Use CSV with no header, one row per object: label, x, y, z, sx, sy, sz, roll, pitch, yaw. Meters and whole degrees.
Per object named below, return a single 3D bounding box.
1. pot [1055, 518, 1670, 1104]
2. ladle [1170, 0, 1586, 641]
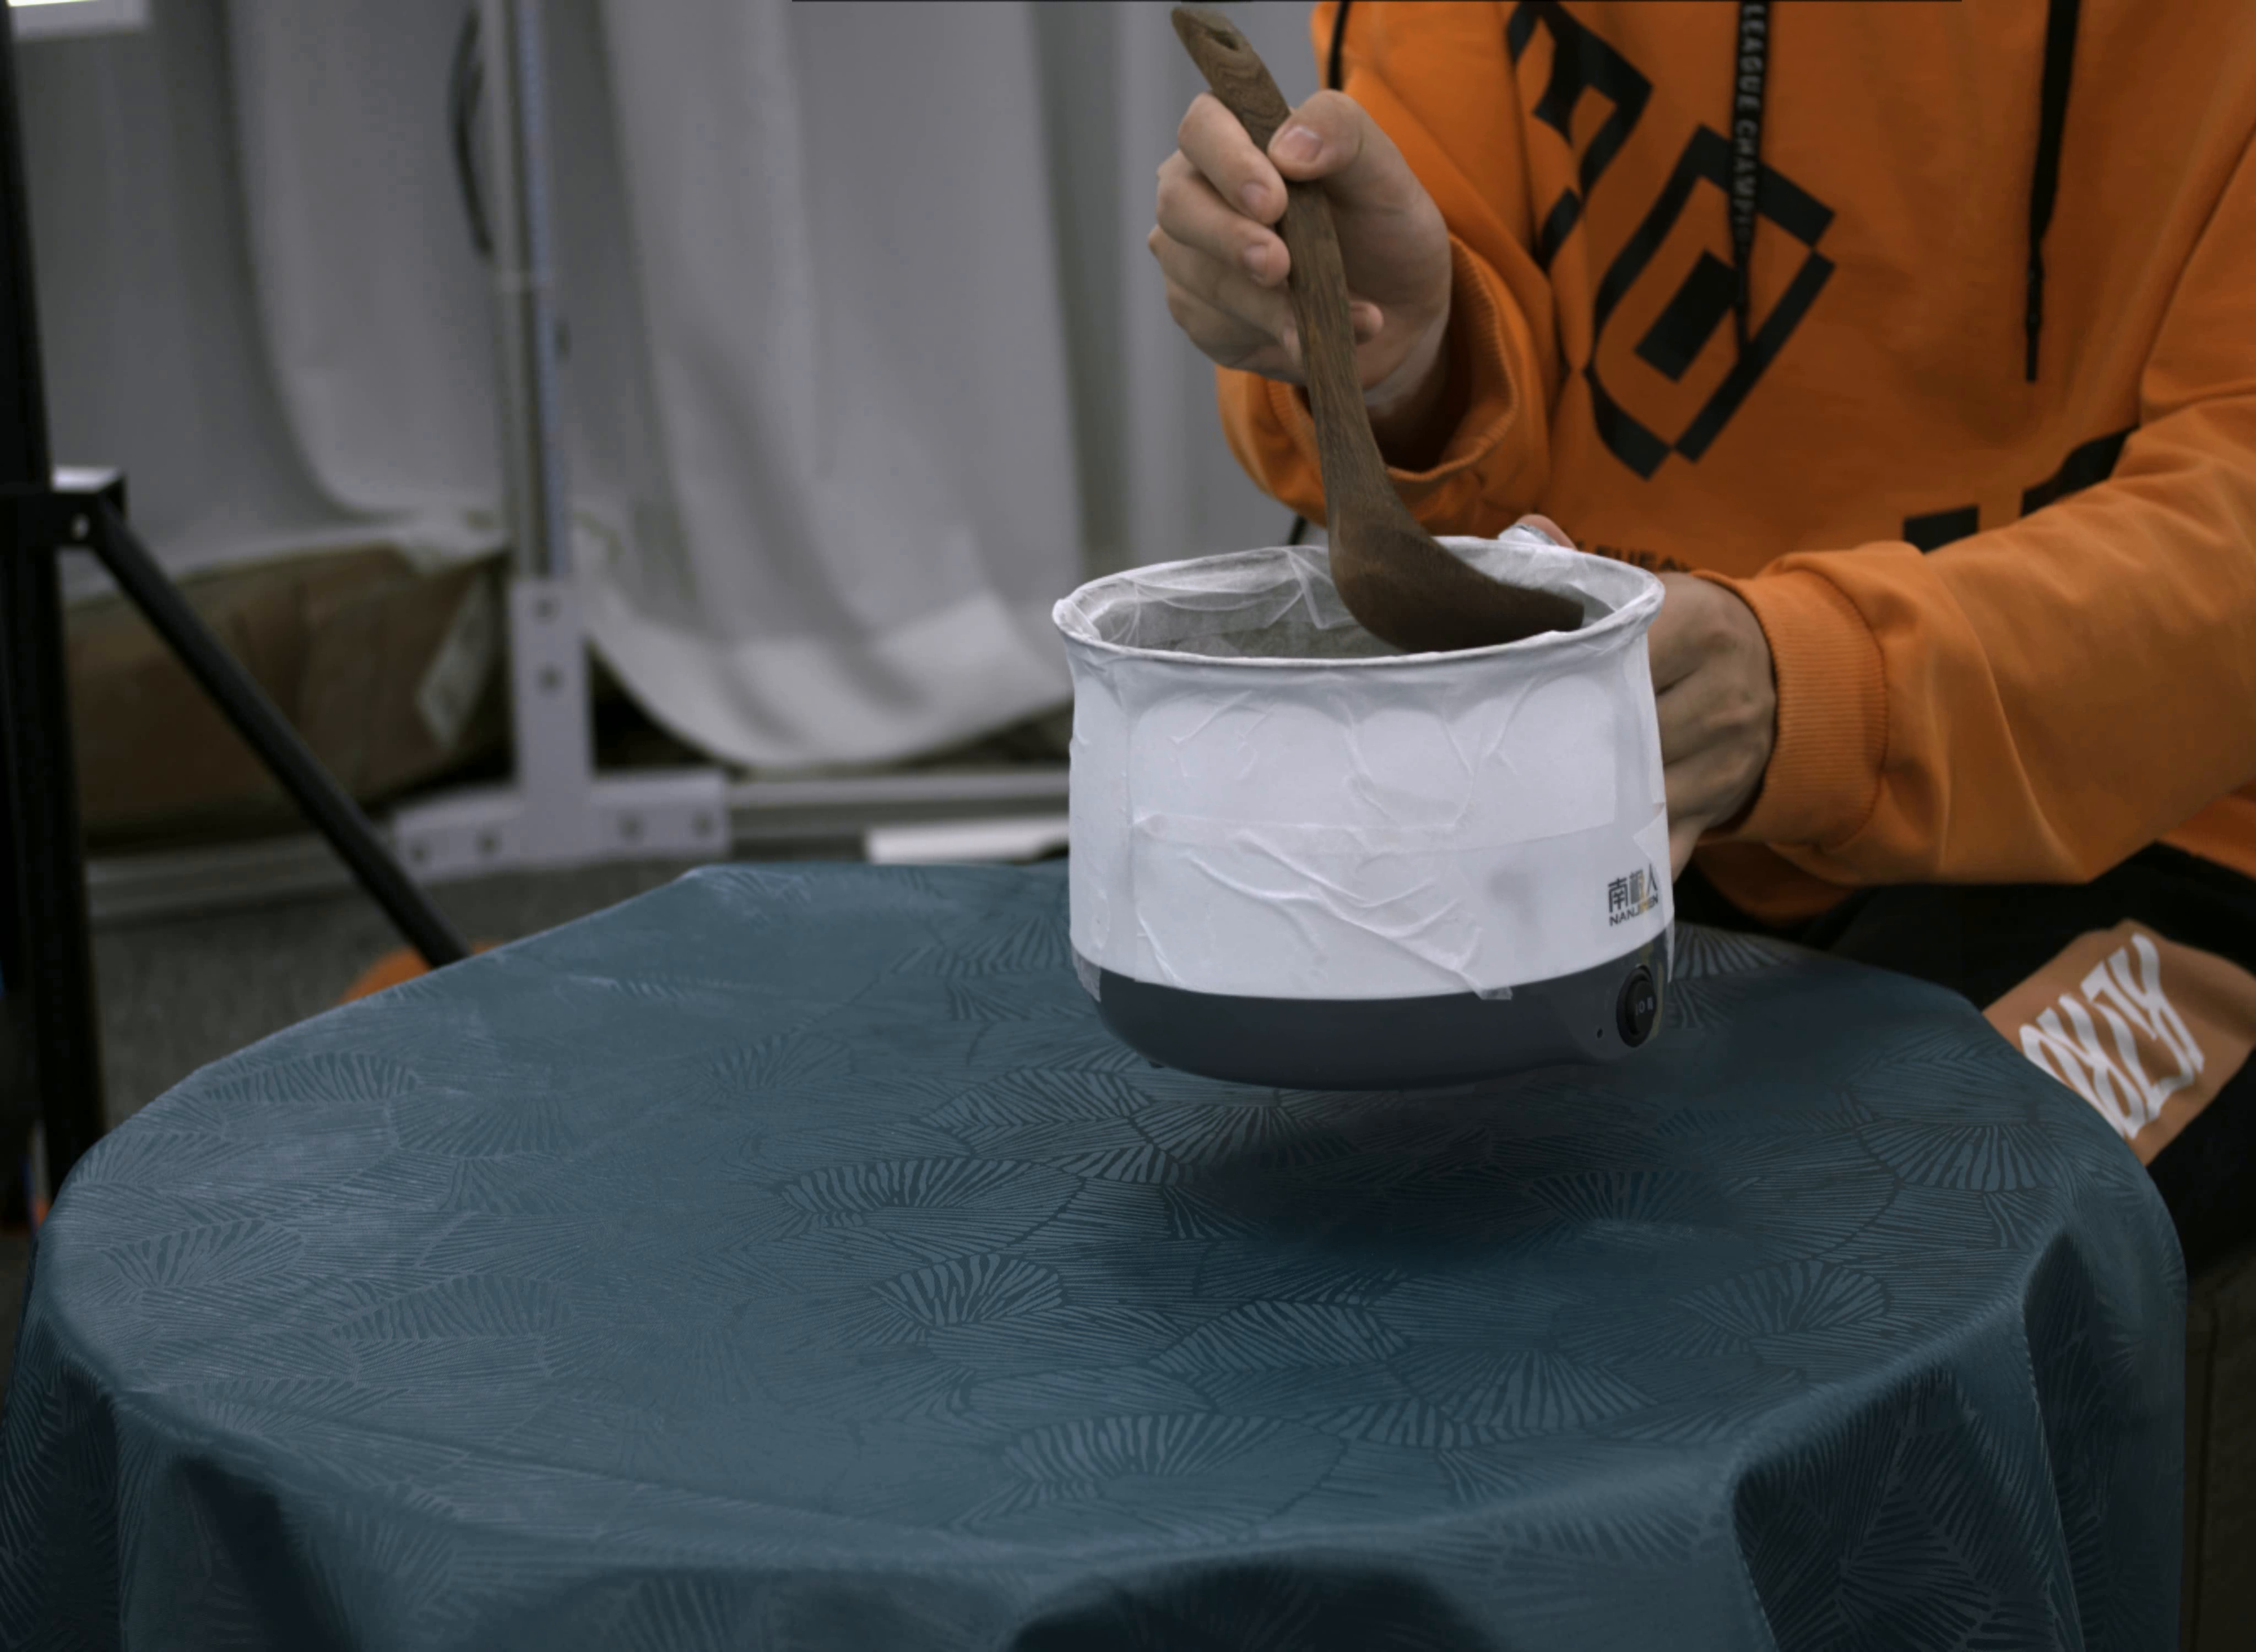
pot,0.083,-0.010,1.564,0.182,0.136,0.229,6,16,31
ladle,0.072,-0.158,1.606,0.074,0.278,0.072,16,-42,-41
